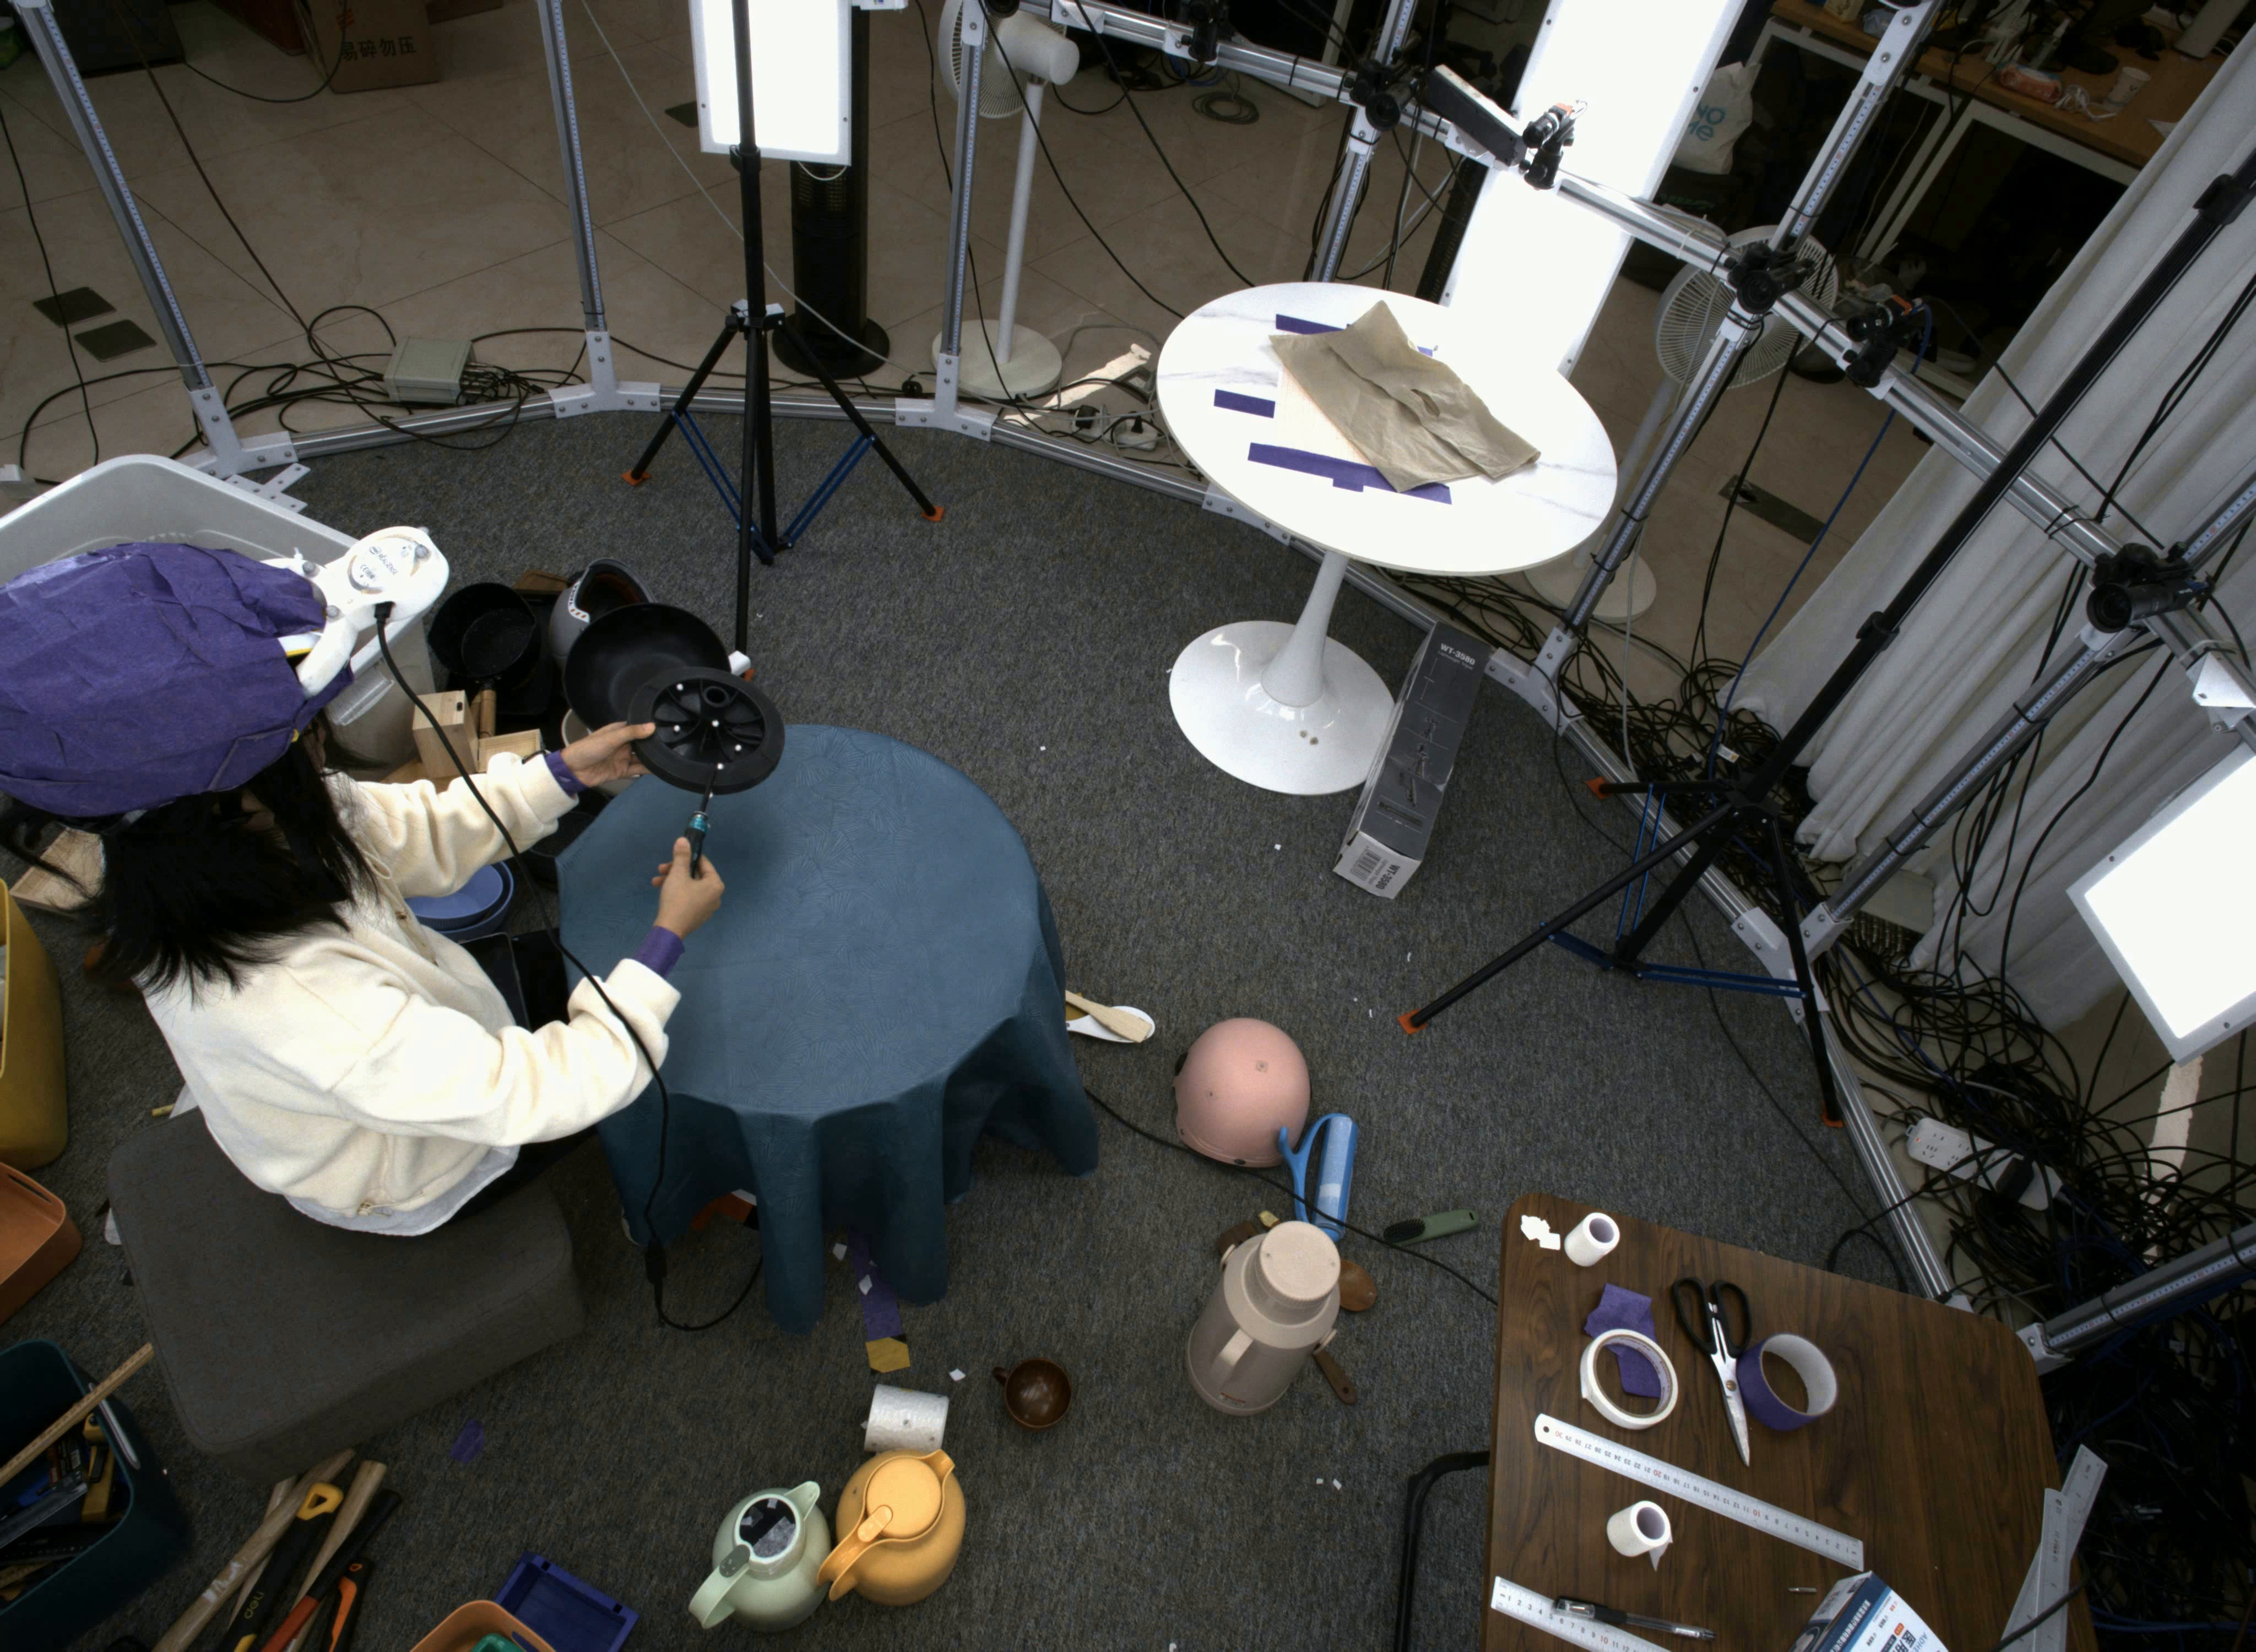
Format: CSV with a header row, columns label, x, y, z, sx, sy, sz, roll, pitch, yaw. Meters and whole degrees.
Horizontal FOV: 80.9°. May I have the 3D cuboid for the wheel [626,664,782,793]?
label,x,y,z,sx,sy,sz,roll,pitch,yaw
wheel,-0.507,-0.133,1.548,0.192,0.079,0.184,-14,64,-41

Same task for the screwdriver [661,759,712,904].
label,x,y,z,sx,sy,sz,roll,pitch,yaw
screwdriver,-0.490,0.000,1.442,0.033,0.034,0.187,7,56,-7
